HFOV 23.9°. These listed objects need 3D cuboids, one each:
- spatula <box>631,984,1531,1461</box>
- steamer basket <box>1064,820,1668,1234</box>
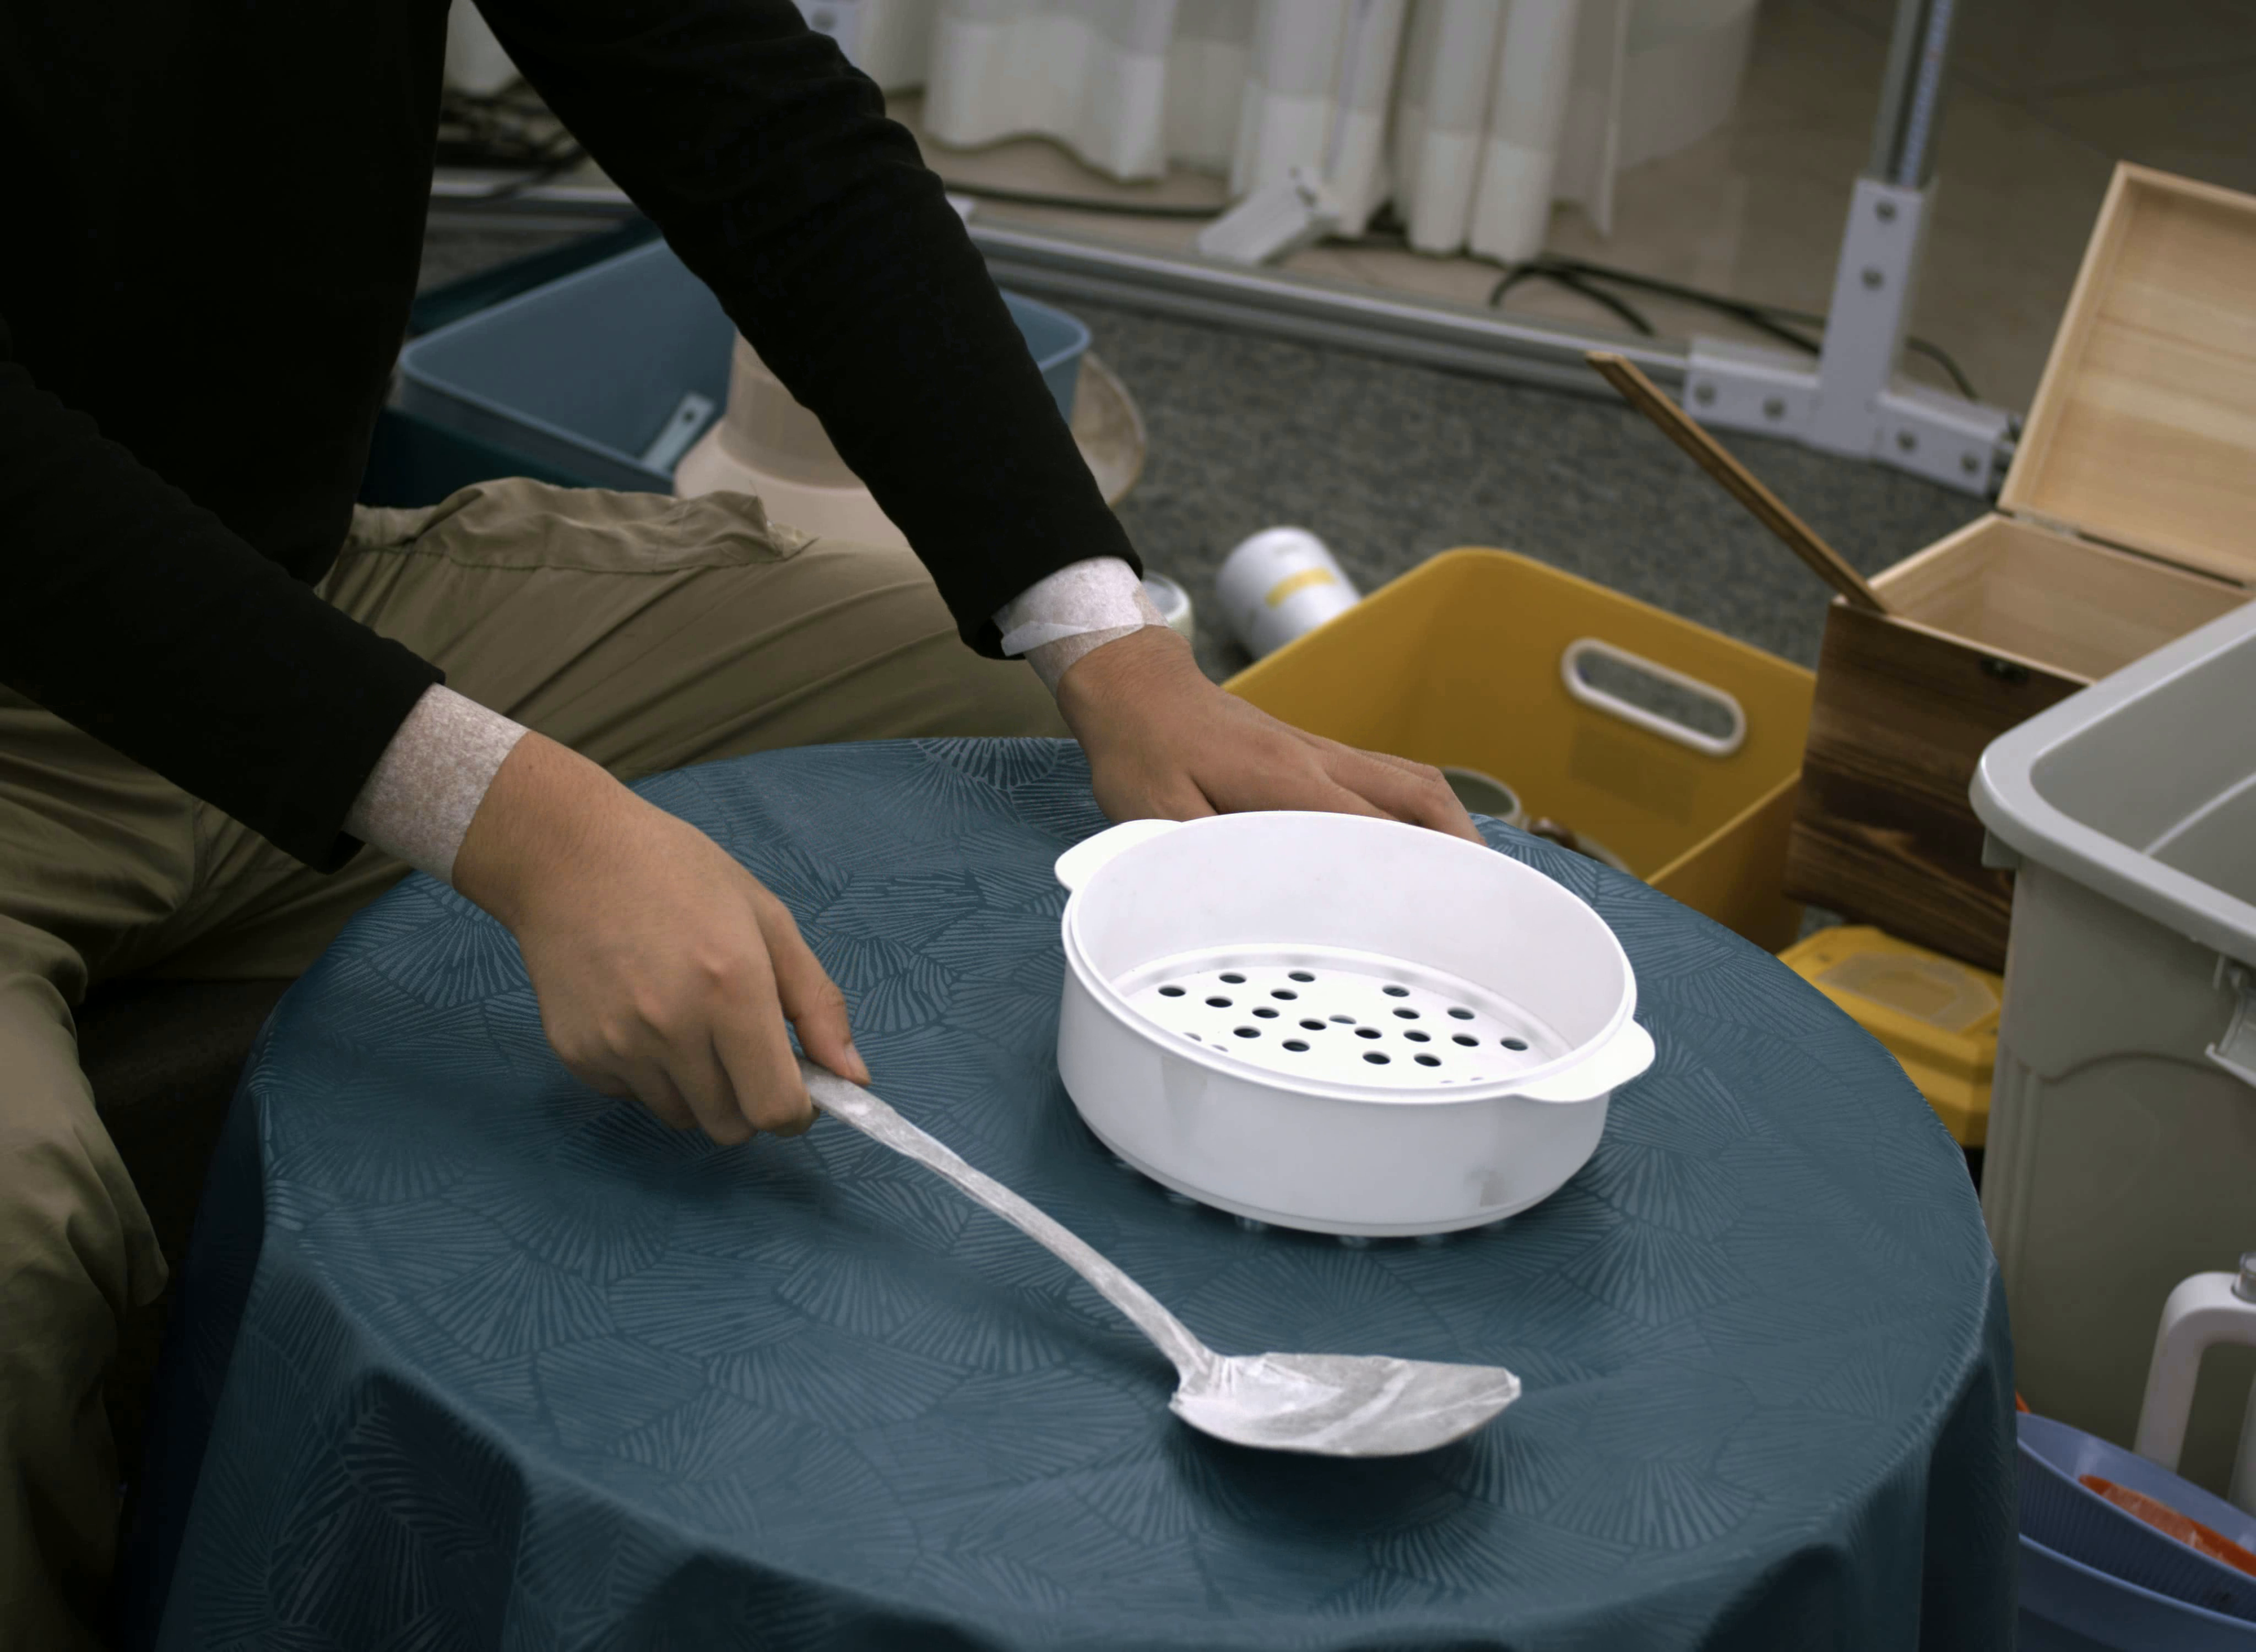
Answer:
[{"bbox_3d":[-0.034,0.122,1.732,0.367,0.044,0.098,31,30,29],"label":"spatula"},{"bbox_3d":[0.077,0.070,1.847,0.232,0.069,0.201,23,30,31],"label":"steamer basket"}]
